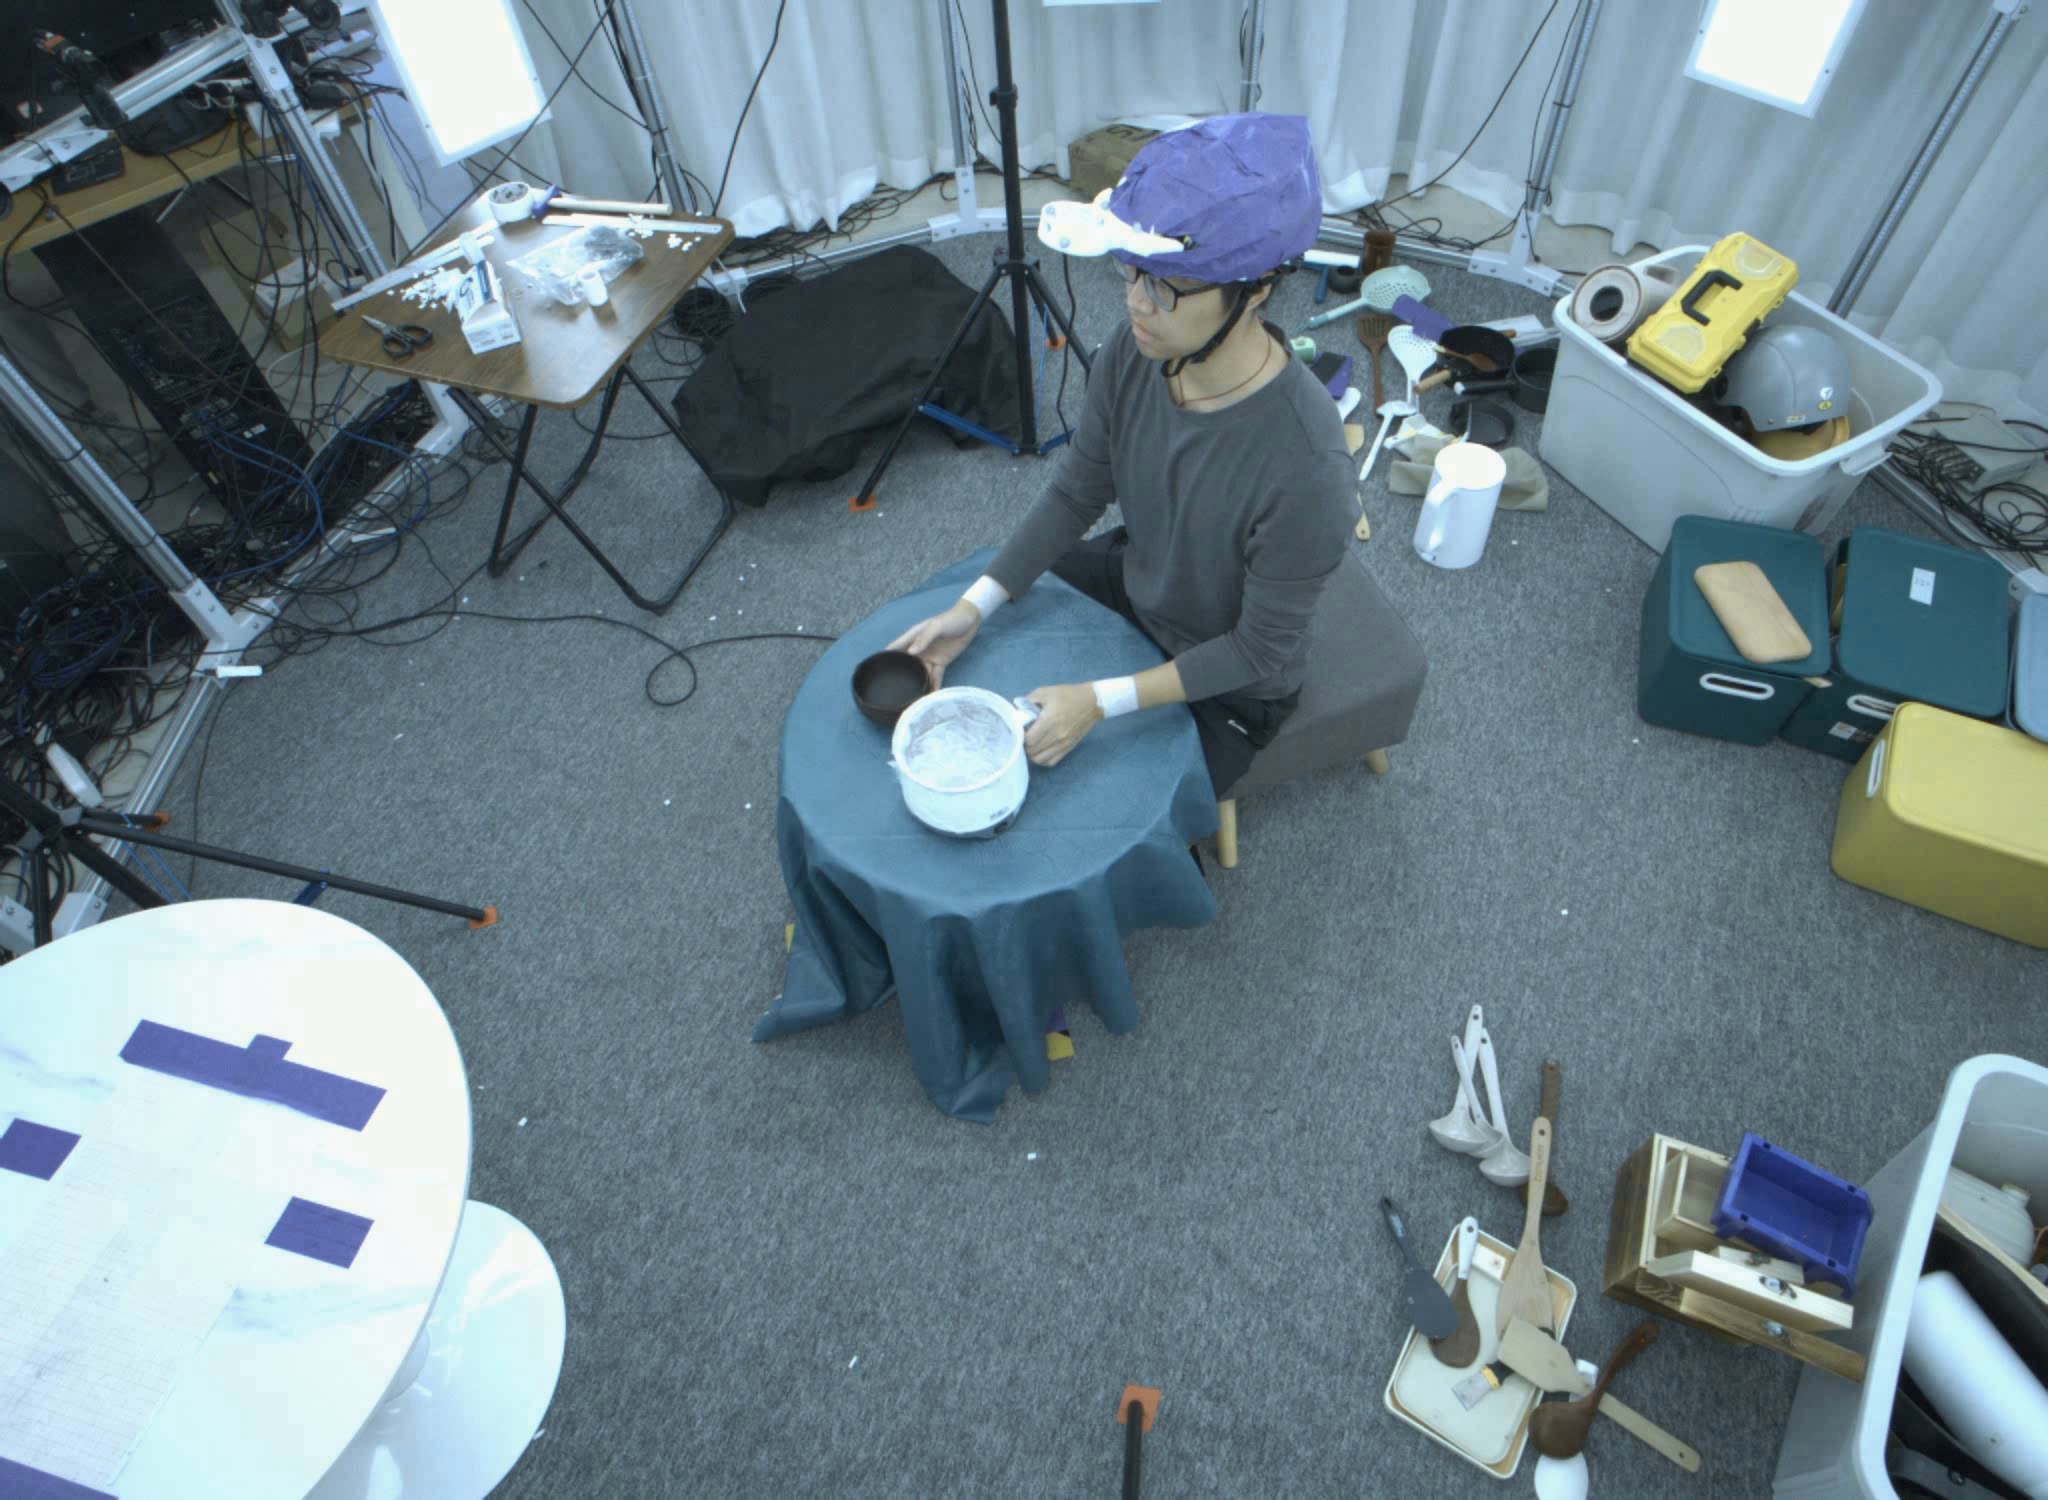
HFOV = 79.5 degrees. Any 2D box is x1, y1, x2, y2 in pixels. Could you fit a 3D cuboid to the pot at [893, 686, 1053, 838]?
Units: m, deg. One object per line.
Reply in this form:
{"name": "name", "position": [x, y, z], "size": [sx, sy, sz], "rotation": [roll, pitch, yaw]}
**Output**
{"name": "pot", "position": [-0.062, 0.007, 1.708], "size": [0.235, 0.138, 0.175], "rotation": [-32, 59, -20]}

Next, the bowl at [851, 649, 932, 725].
{"name": "bowl", "position": [-0.195, -0.085, 1.816], "size": [0.118, 0.070, 0.117], "rotation": [0, 53, 1]}
